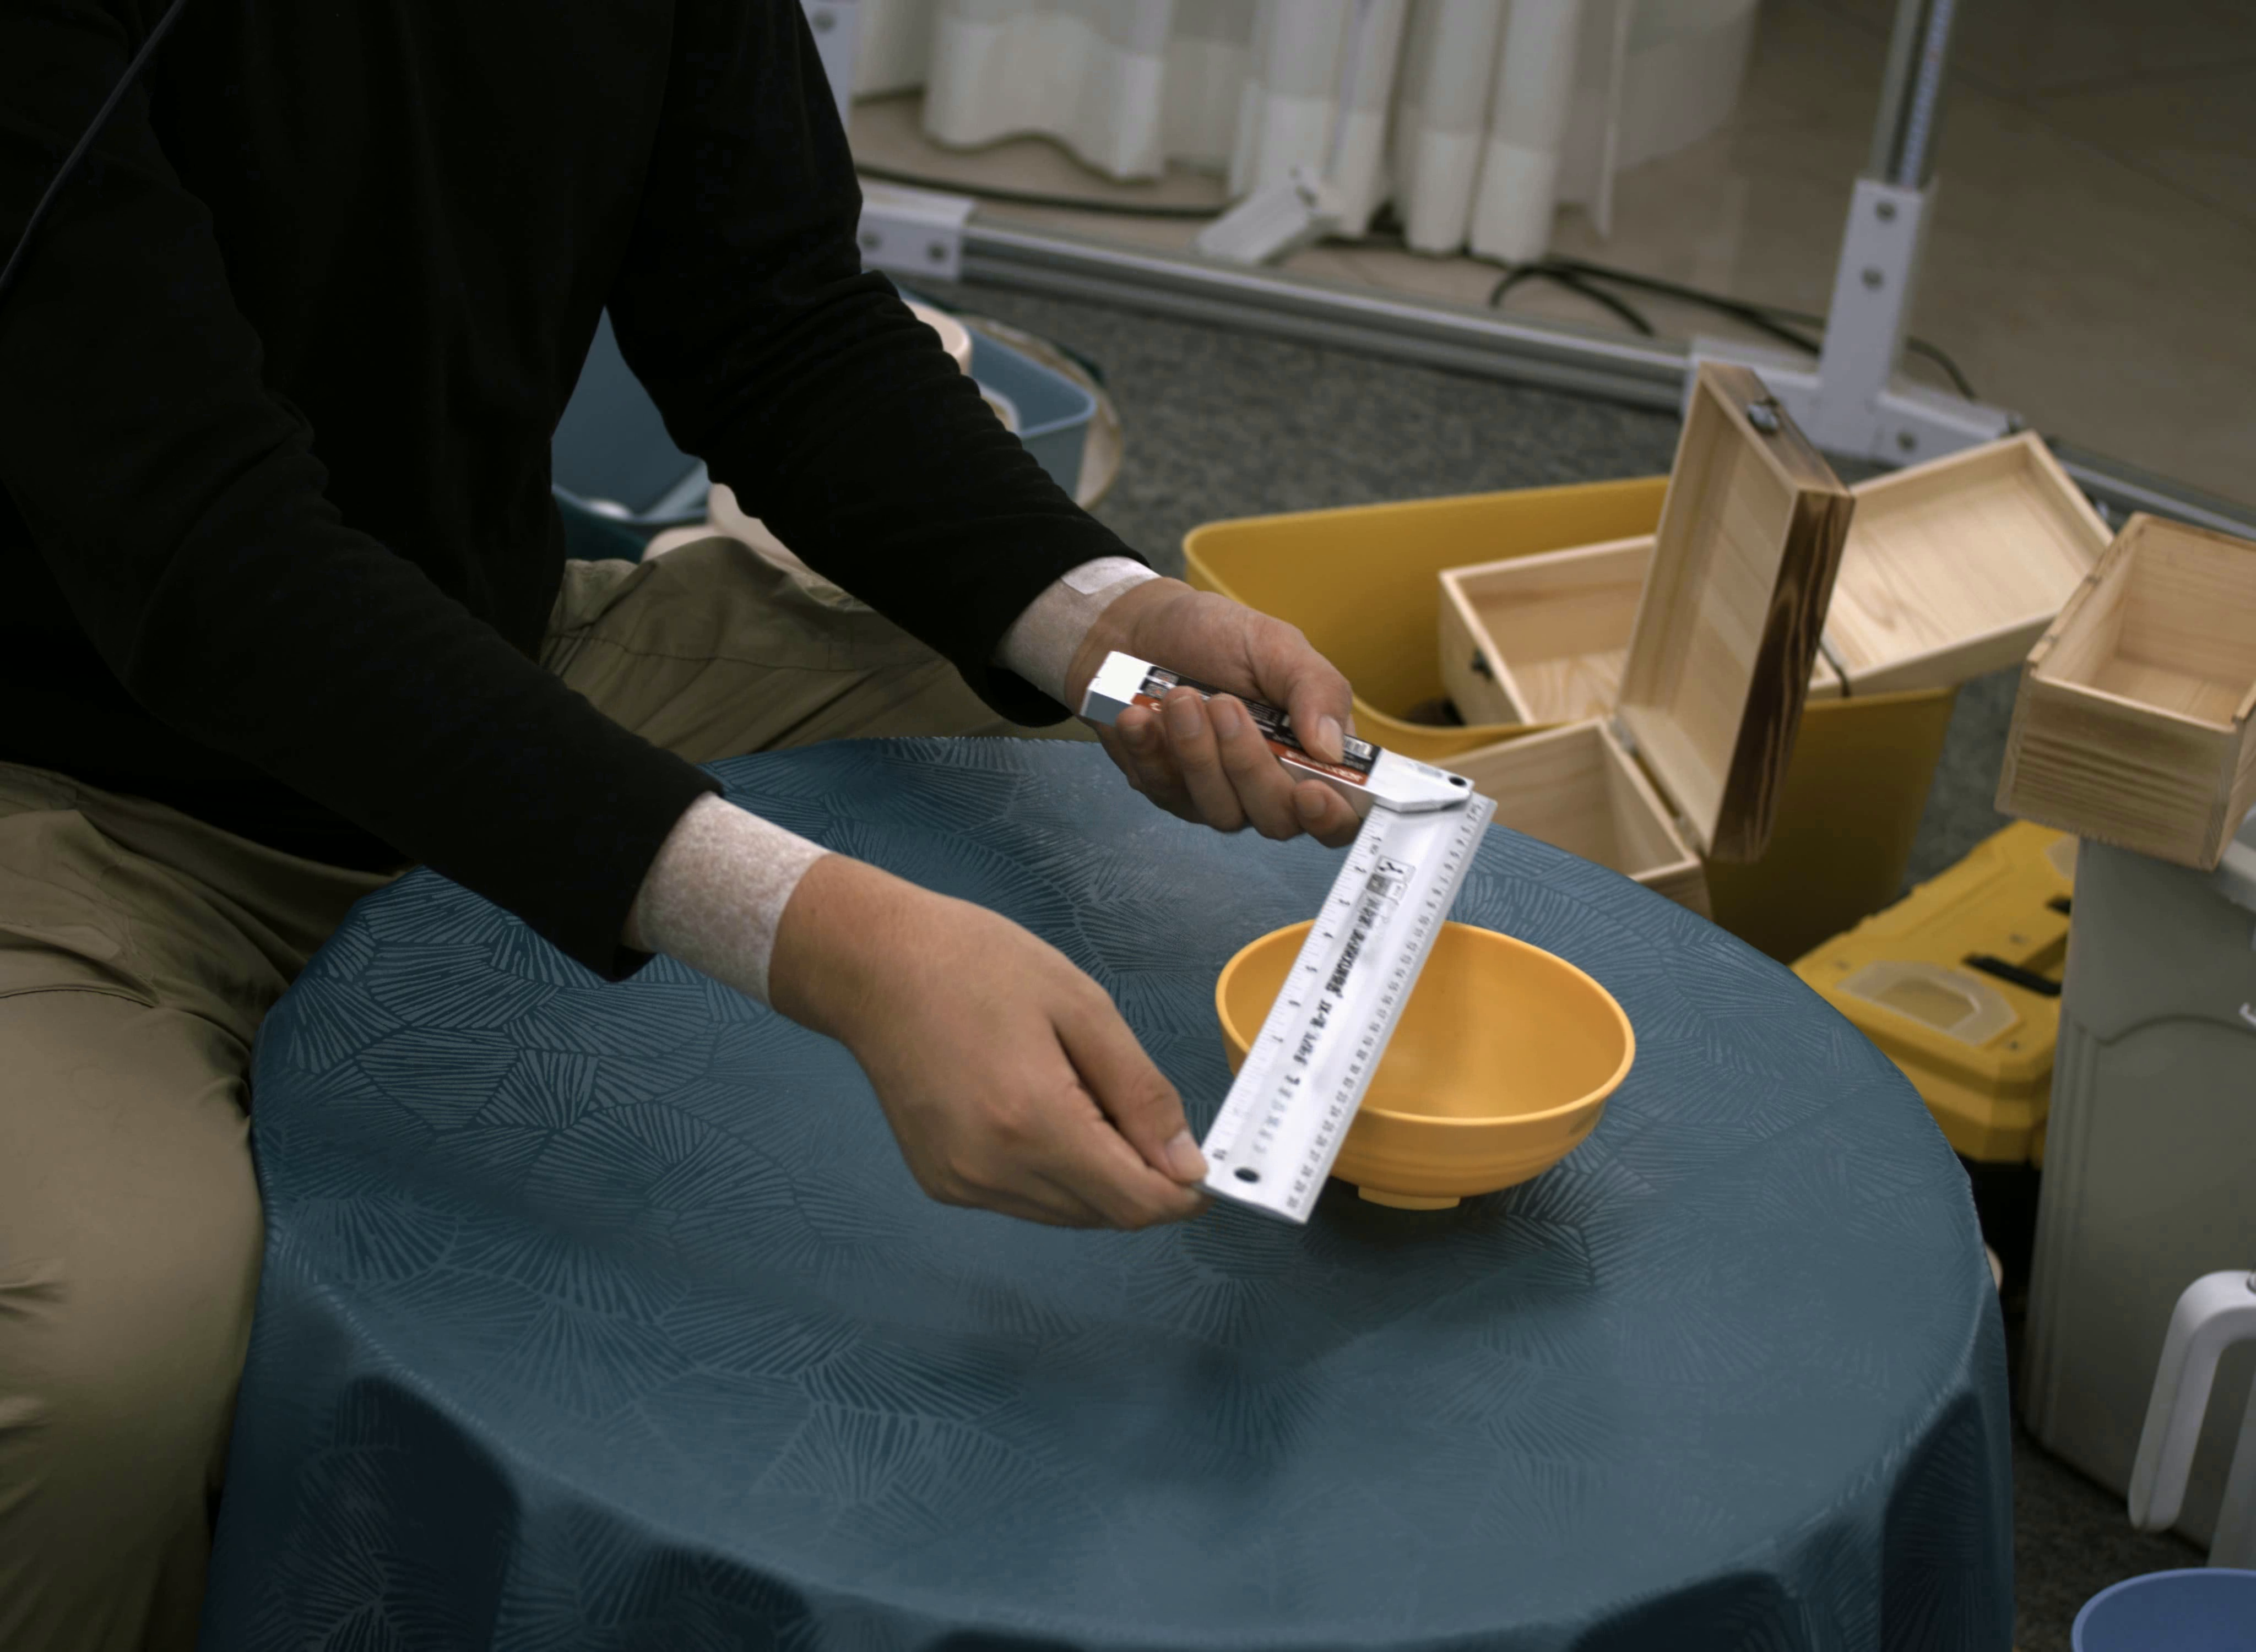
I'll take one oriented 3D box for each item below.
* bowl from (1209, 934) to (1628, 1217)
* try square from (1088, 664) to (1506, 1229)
[{"bbox_3d":[0.096,0.093,1.825,0.145,0.060,0.146,4,24,-2],"label":"bowl"},{"bbox_3d":[0.027,0.035,1.800,0.152,0.016,0.313,18,29,7],"label":"try square"}]
